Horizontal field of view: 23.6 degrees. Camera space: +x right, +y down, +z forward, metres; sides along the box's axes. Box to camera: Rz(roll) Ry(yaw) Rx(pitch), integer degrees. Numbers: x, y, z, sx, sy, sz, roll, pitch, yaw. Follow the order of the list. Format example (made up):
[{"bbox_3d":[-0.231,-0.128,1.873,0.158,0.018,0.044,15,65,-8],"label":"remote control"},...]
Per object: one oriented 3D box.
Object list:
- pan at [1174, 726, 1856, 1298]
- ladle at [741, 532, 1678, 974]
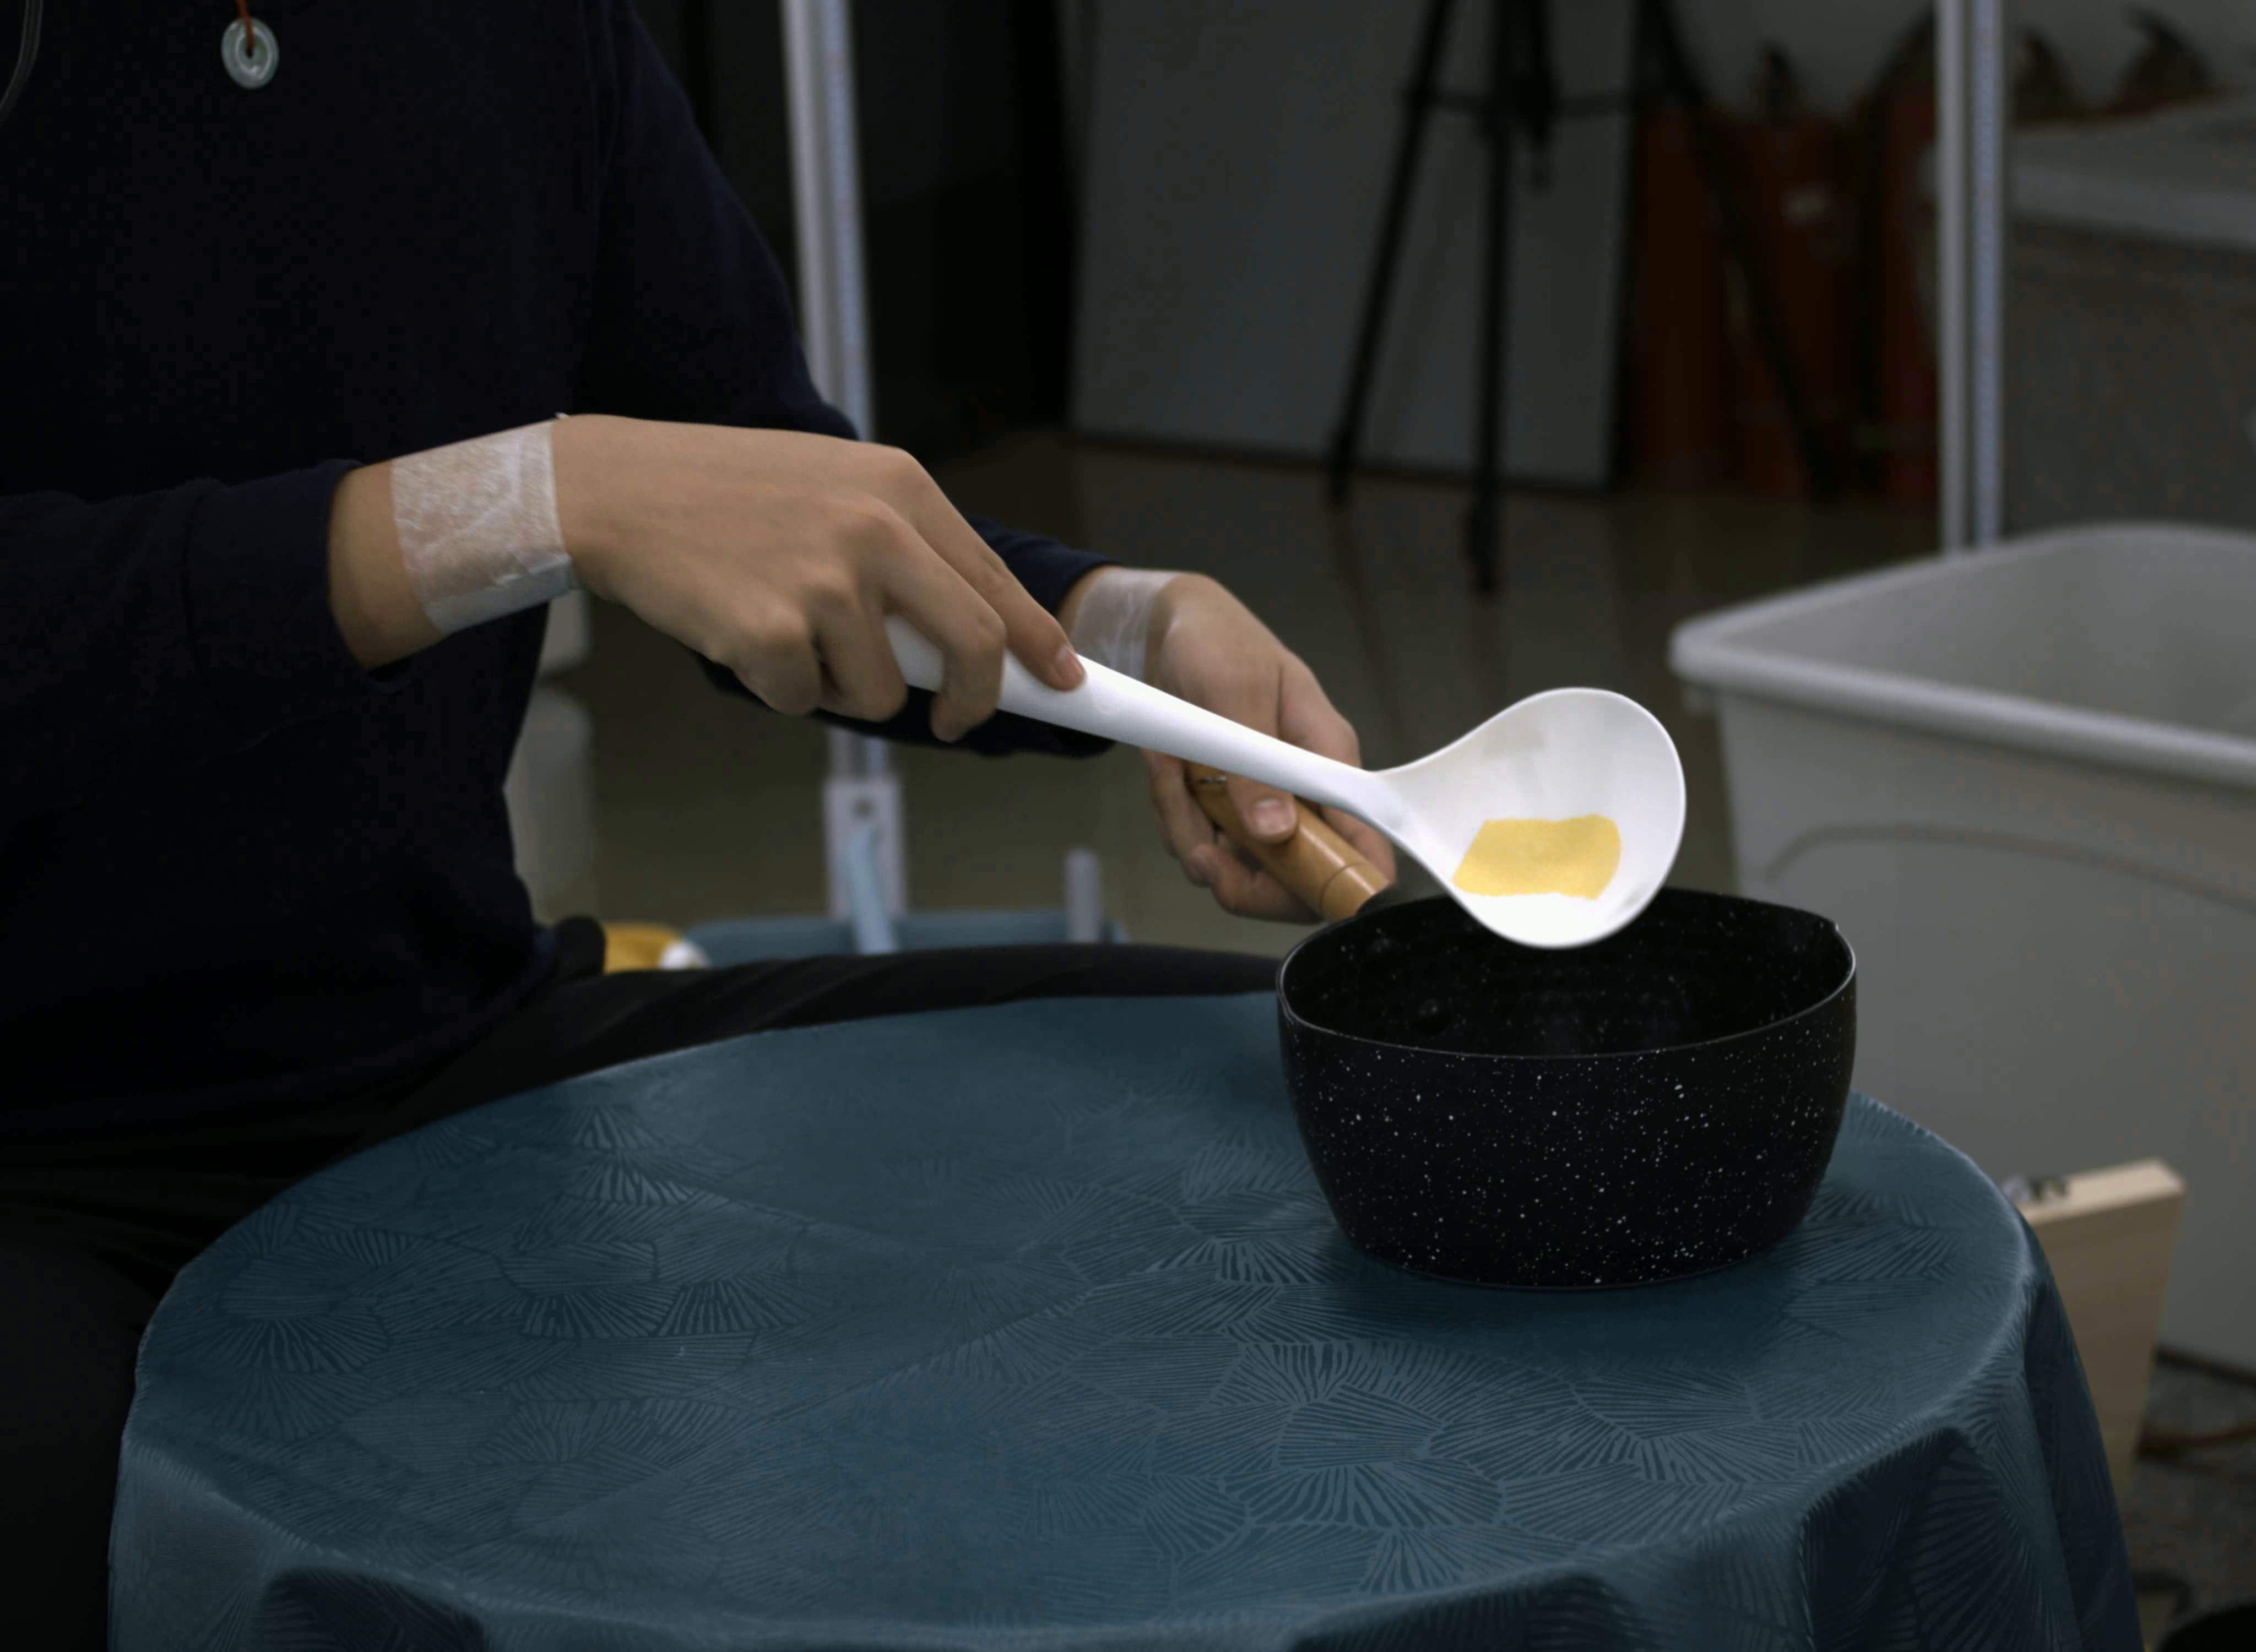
[{"bbox_3d":[0.102,0.055,1.770,0.203,0.109,0.346,-12,18,-25],"label":"pan"},{"bbox_3d":[0.026,-0.032,1.650,0.288,0.091,0.070,19,-17,-15],"label":"ladle"}]
